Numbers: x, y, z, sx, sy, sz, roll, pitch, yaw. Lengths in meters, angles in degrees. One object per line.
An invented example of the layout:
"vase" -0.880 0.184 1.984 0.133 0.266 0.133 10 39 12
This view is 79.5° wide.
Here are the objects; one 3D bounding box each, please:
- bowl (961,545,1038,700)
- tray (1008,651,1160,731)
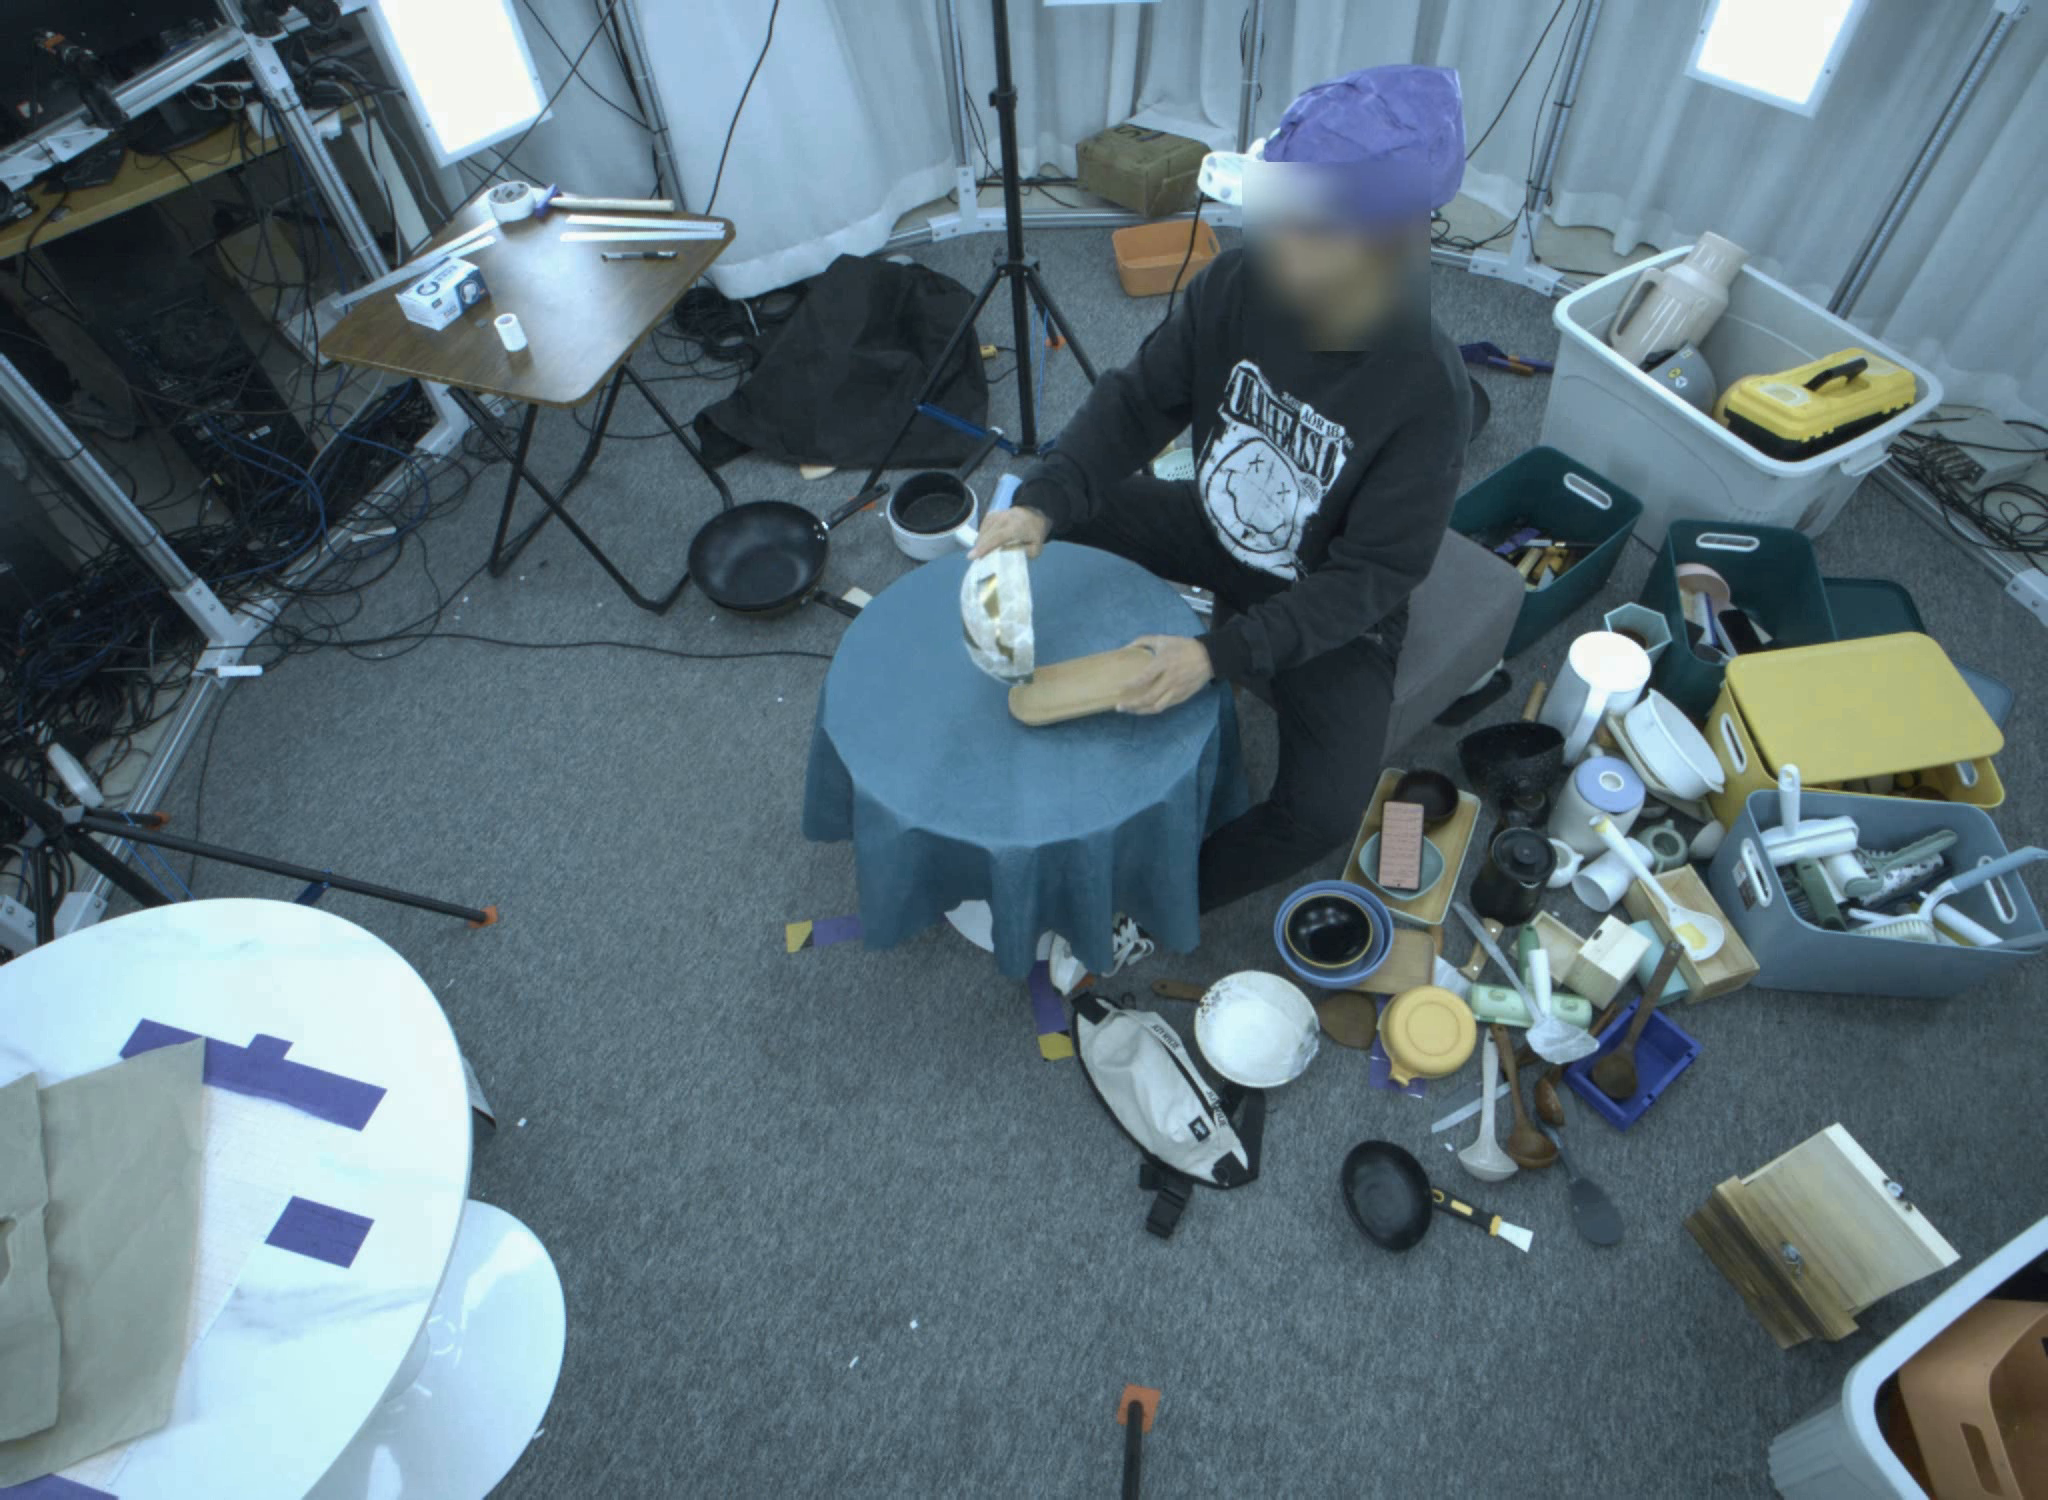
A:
"bowl" -0.038 -0.173 1.689 0.095 0.217 0.212 -6 55 -3
"tray" 0.087 -0.086 1.814 0.229 0.021 0.100 -13 54 12
